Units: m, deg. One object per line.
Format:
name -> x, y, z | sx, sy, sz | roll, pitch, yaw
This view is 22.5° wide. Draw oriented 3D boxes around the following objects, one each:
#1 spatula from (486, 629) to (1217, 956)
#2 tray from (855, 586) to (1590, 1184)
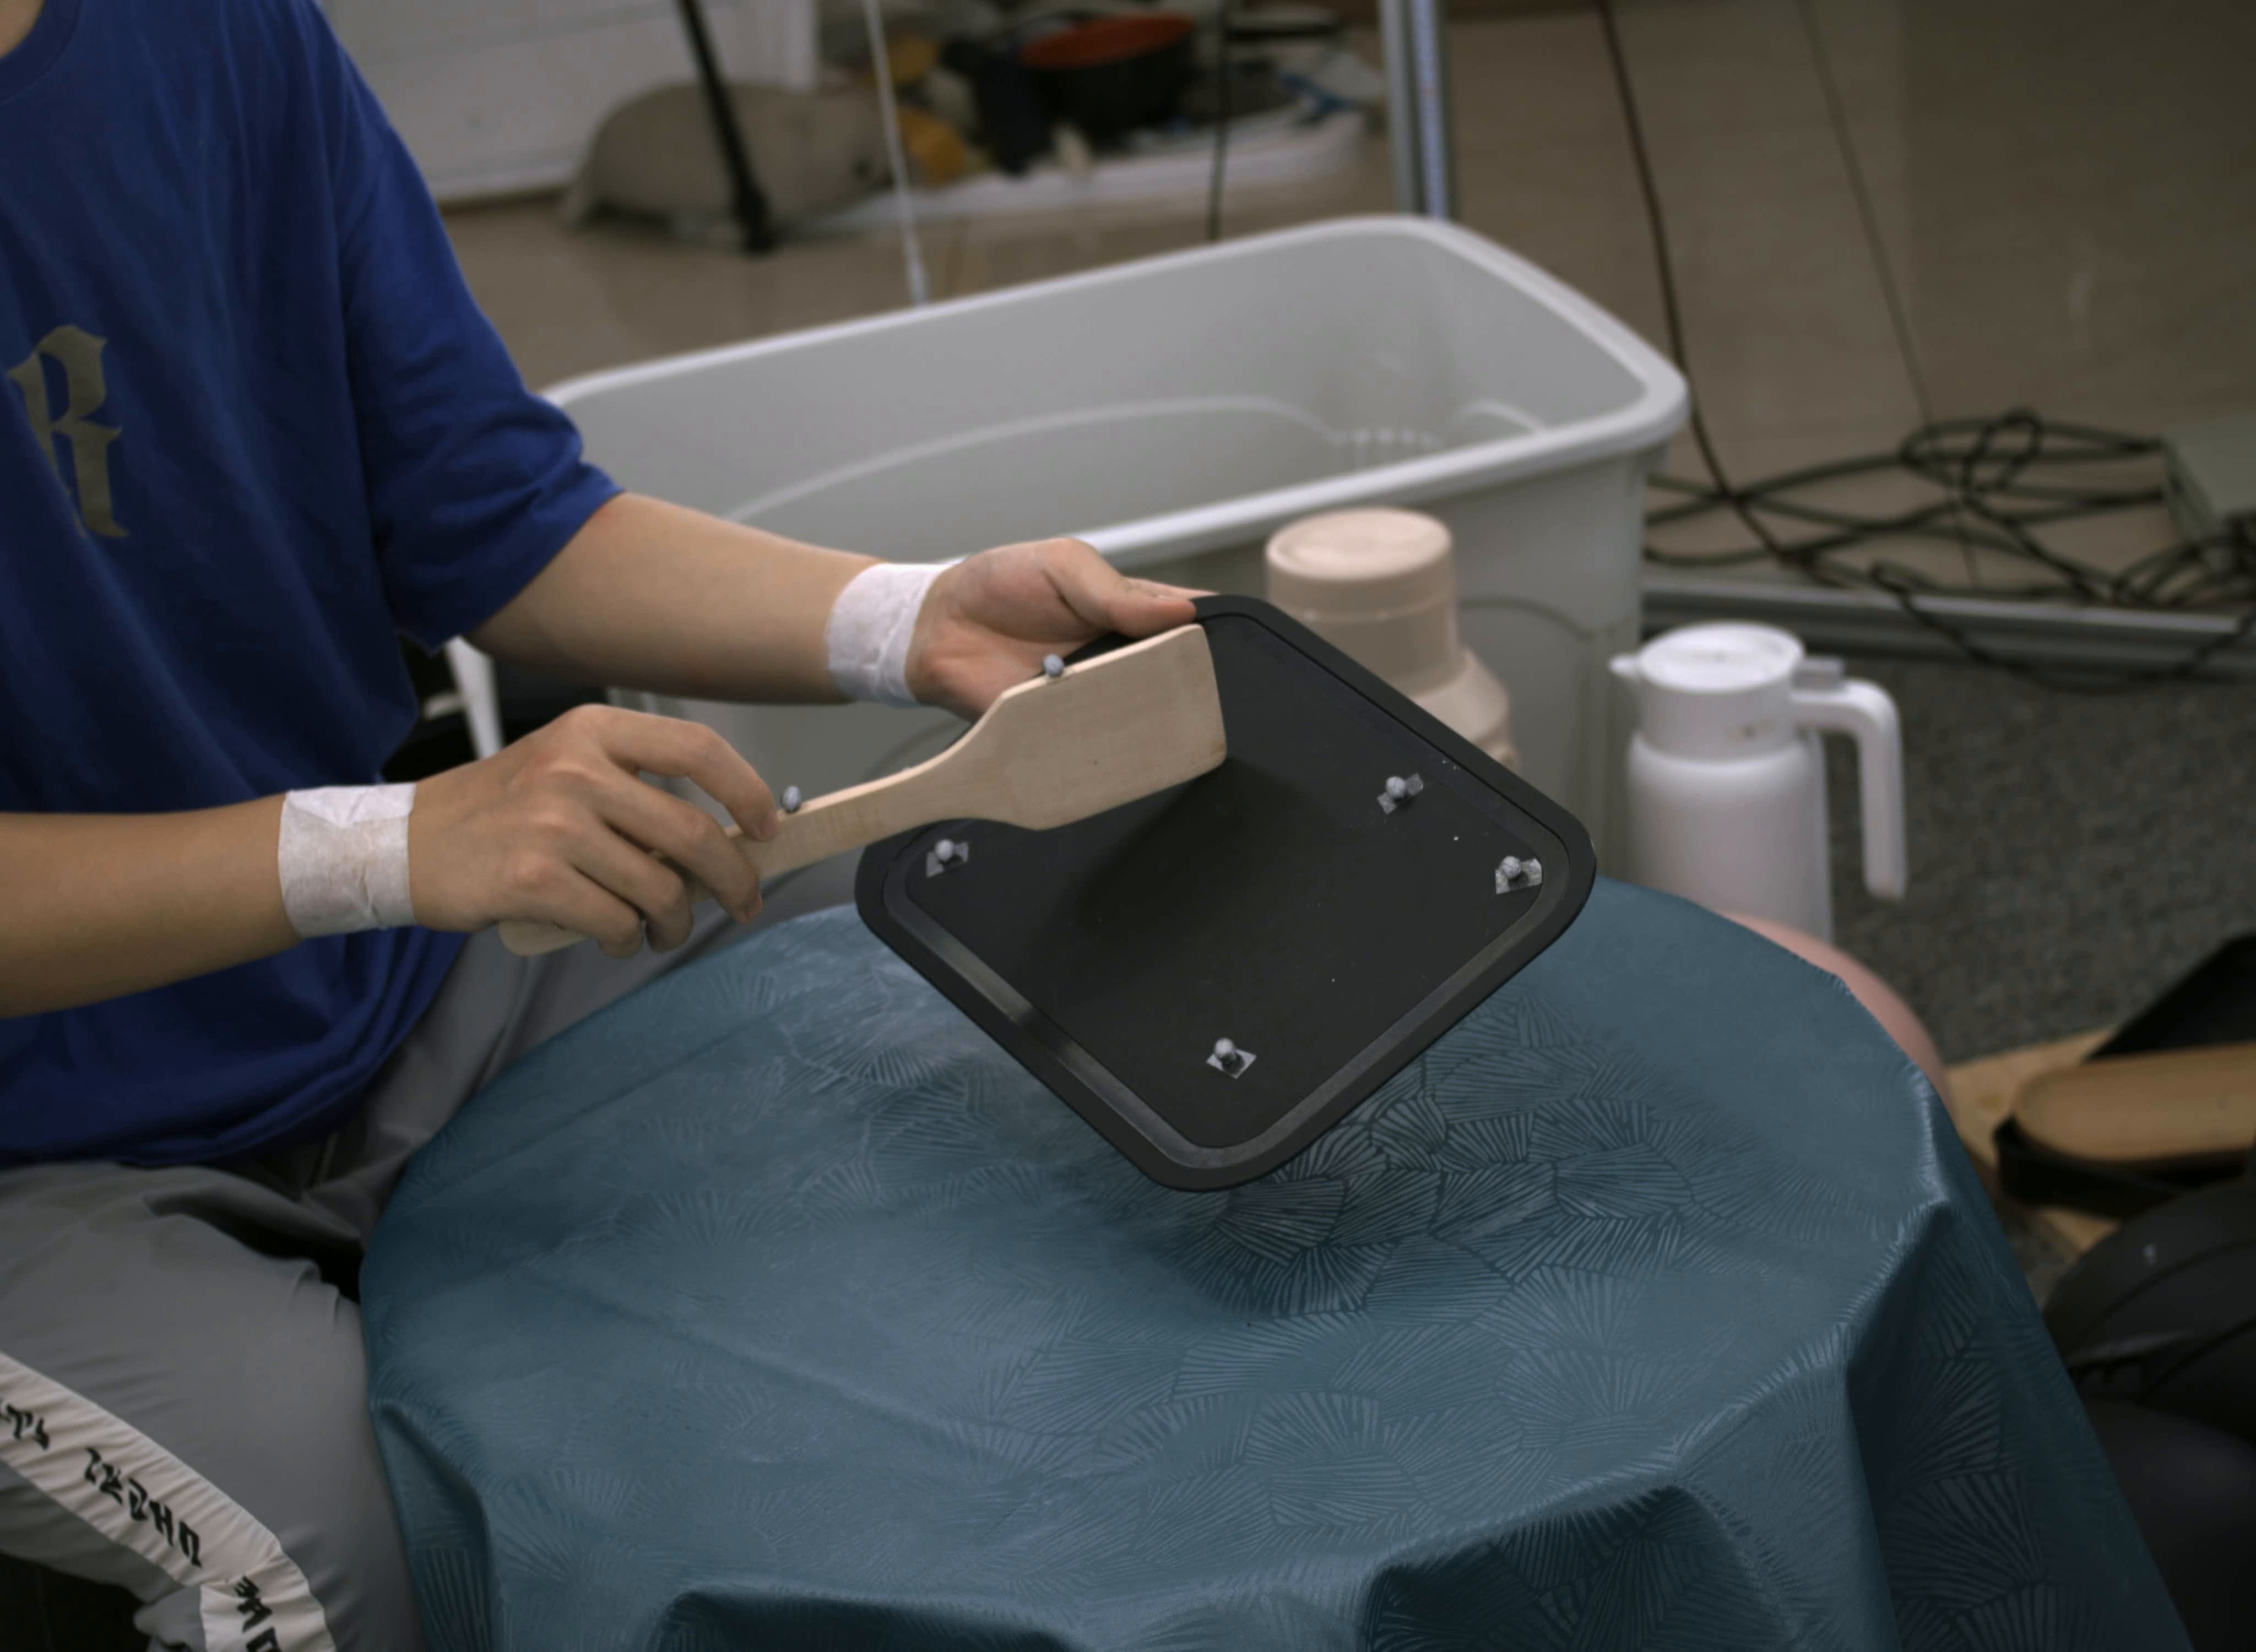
spatula -> -0.105, -0.005, 2.162 | 0.292, 0.073, 0.010 | -18, 41, -8
tray -> 0.025, 0.013, 2.173 | 0.210, 0.010, 0.321 | -39, 40, -9
